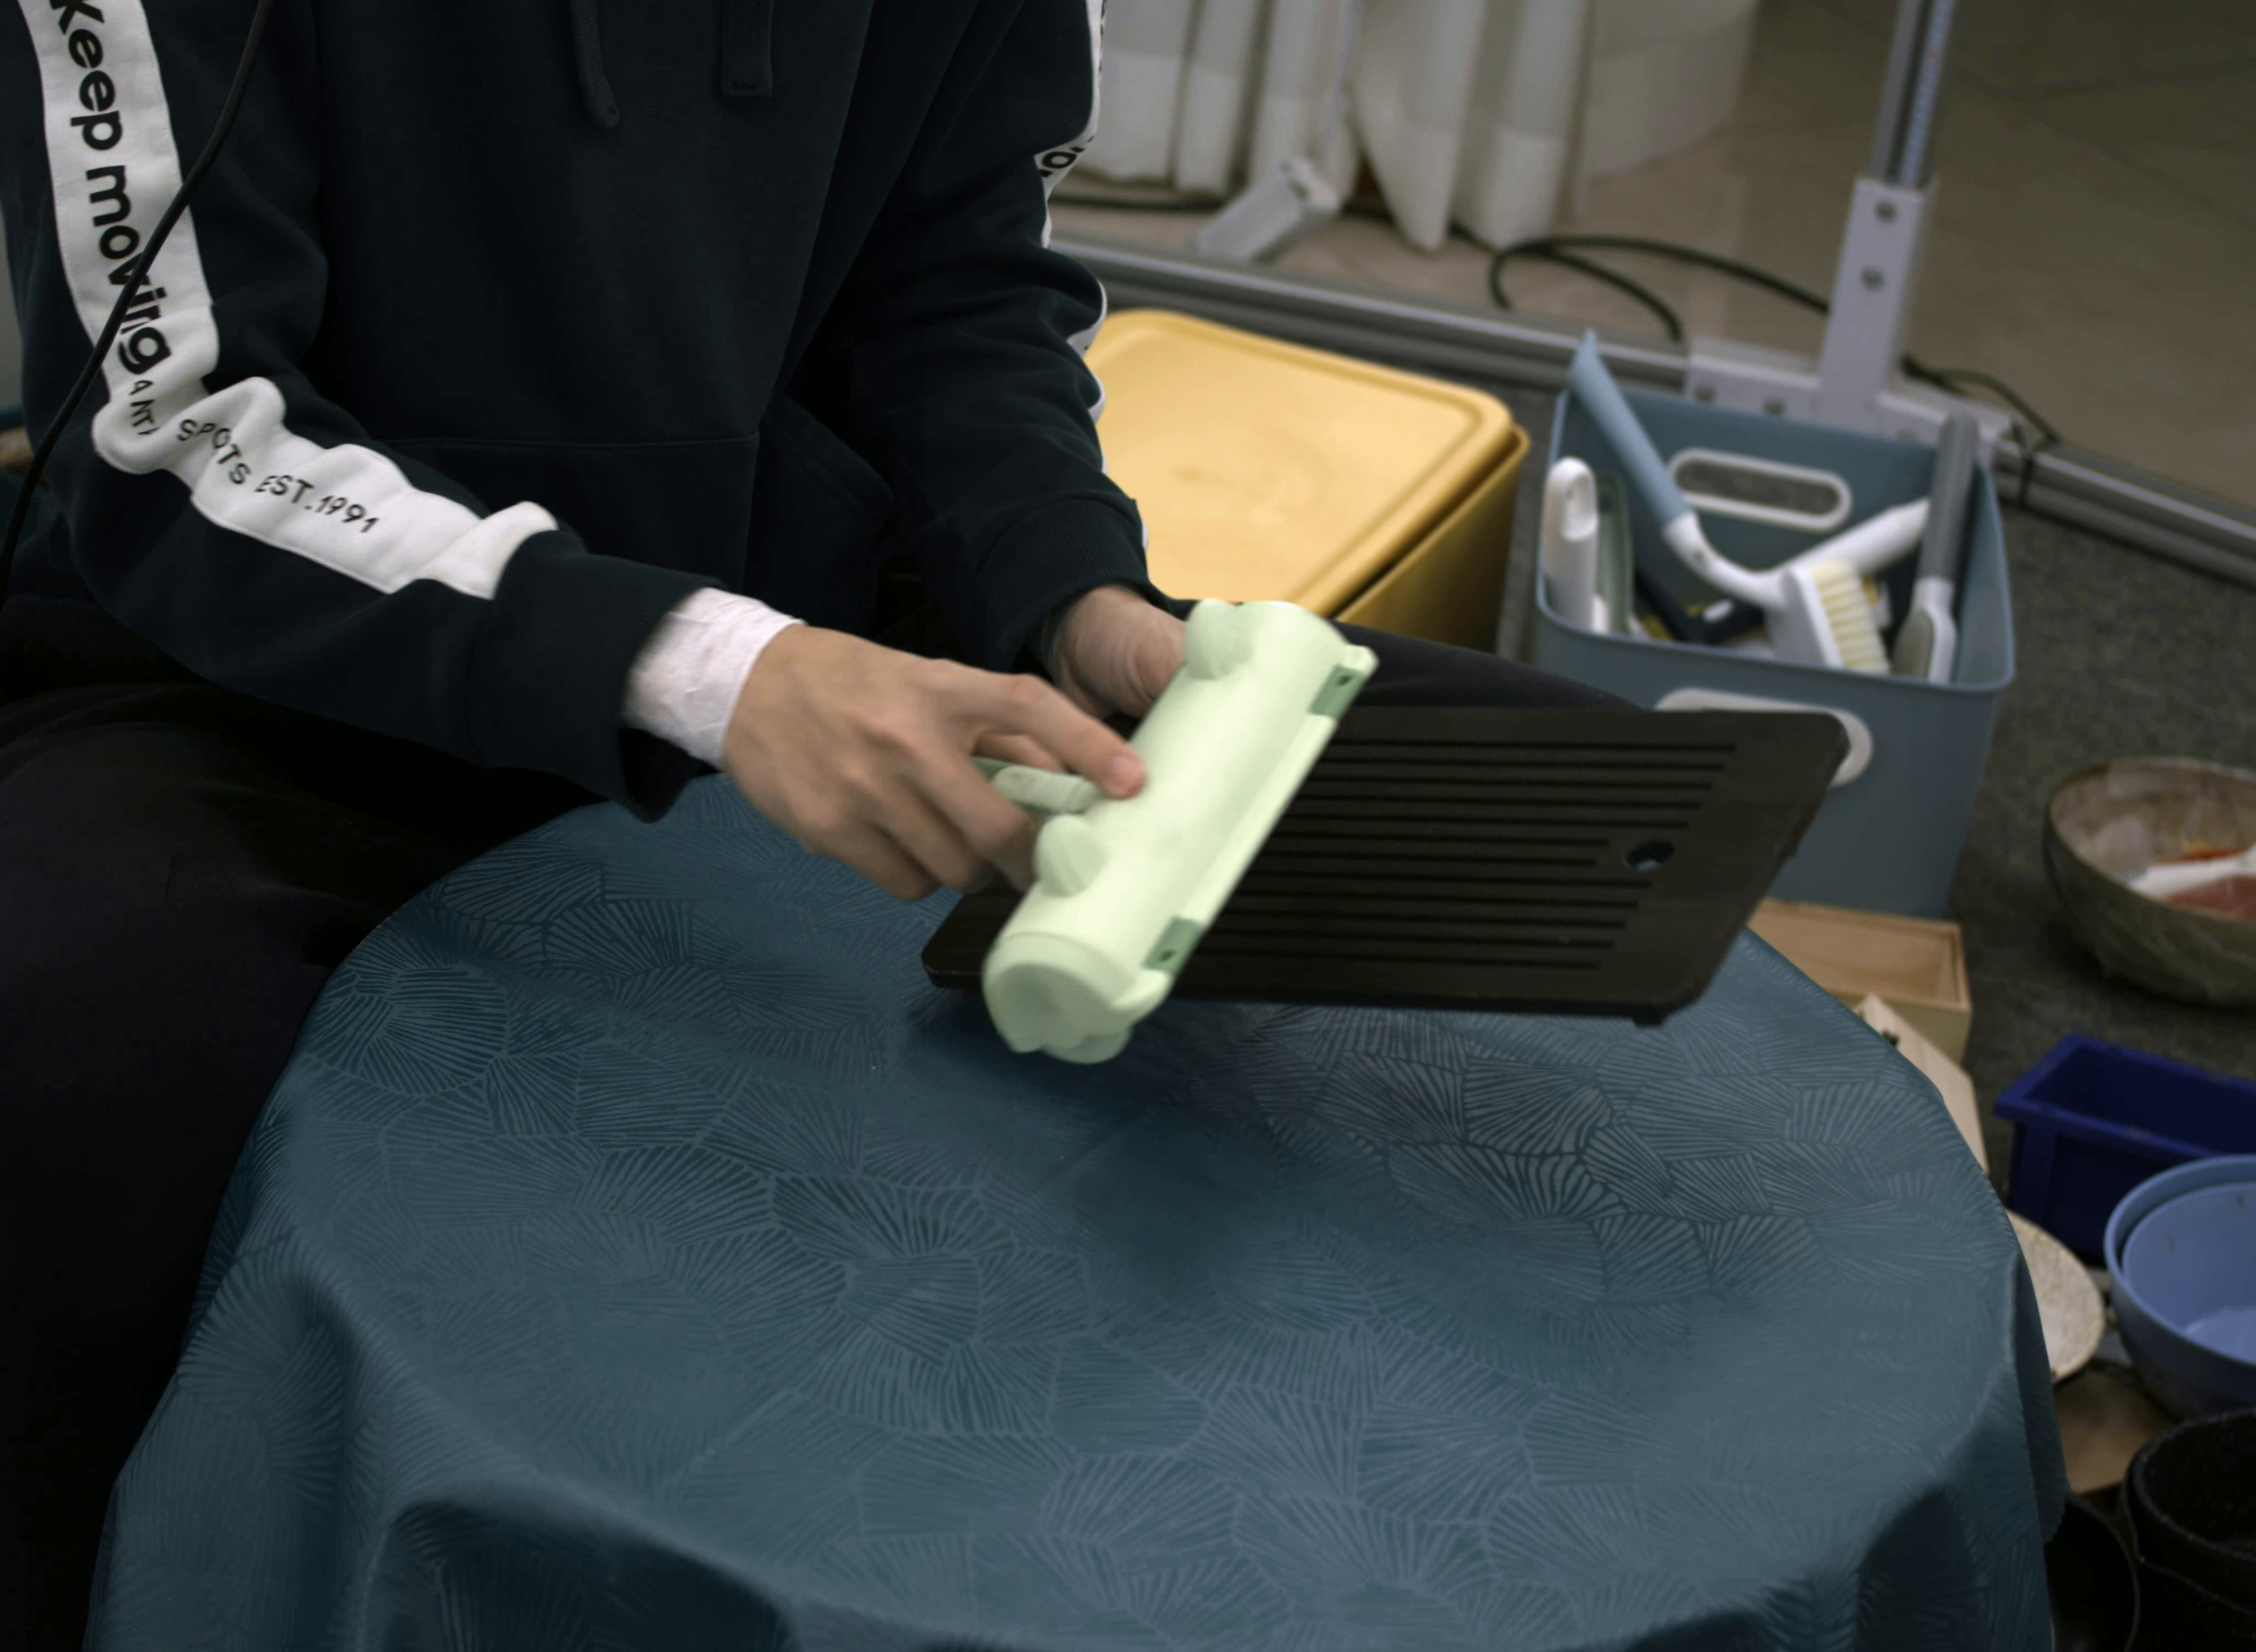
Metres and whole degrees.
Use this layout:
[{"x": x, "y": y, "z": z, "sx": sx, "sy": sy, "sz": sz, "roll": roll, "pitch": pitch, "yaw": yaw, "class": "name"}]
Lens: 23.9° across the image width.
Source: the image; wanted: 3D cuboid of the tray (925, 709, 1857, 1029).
[{"x": 0.092, "y": 0.013, "z": 1.872, "sx": 0.307, "sy": 0.018, "sz": 0.170, "roll": 1, "pitch": 36, "yaw": 31, "class": "tray"}]

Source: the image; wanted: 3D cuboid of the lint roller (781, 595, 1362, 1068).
[{"x": -0.040, "y": -0.017, "z": 1.785, "sx": 0.184, "sy": 0.081, "sz": 0.199, "roll": 13, "pitch": 45, "yaw": 23, "class": "lint roller"}]
